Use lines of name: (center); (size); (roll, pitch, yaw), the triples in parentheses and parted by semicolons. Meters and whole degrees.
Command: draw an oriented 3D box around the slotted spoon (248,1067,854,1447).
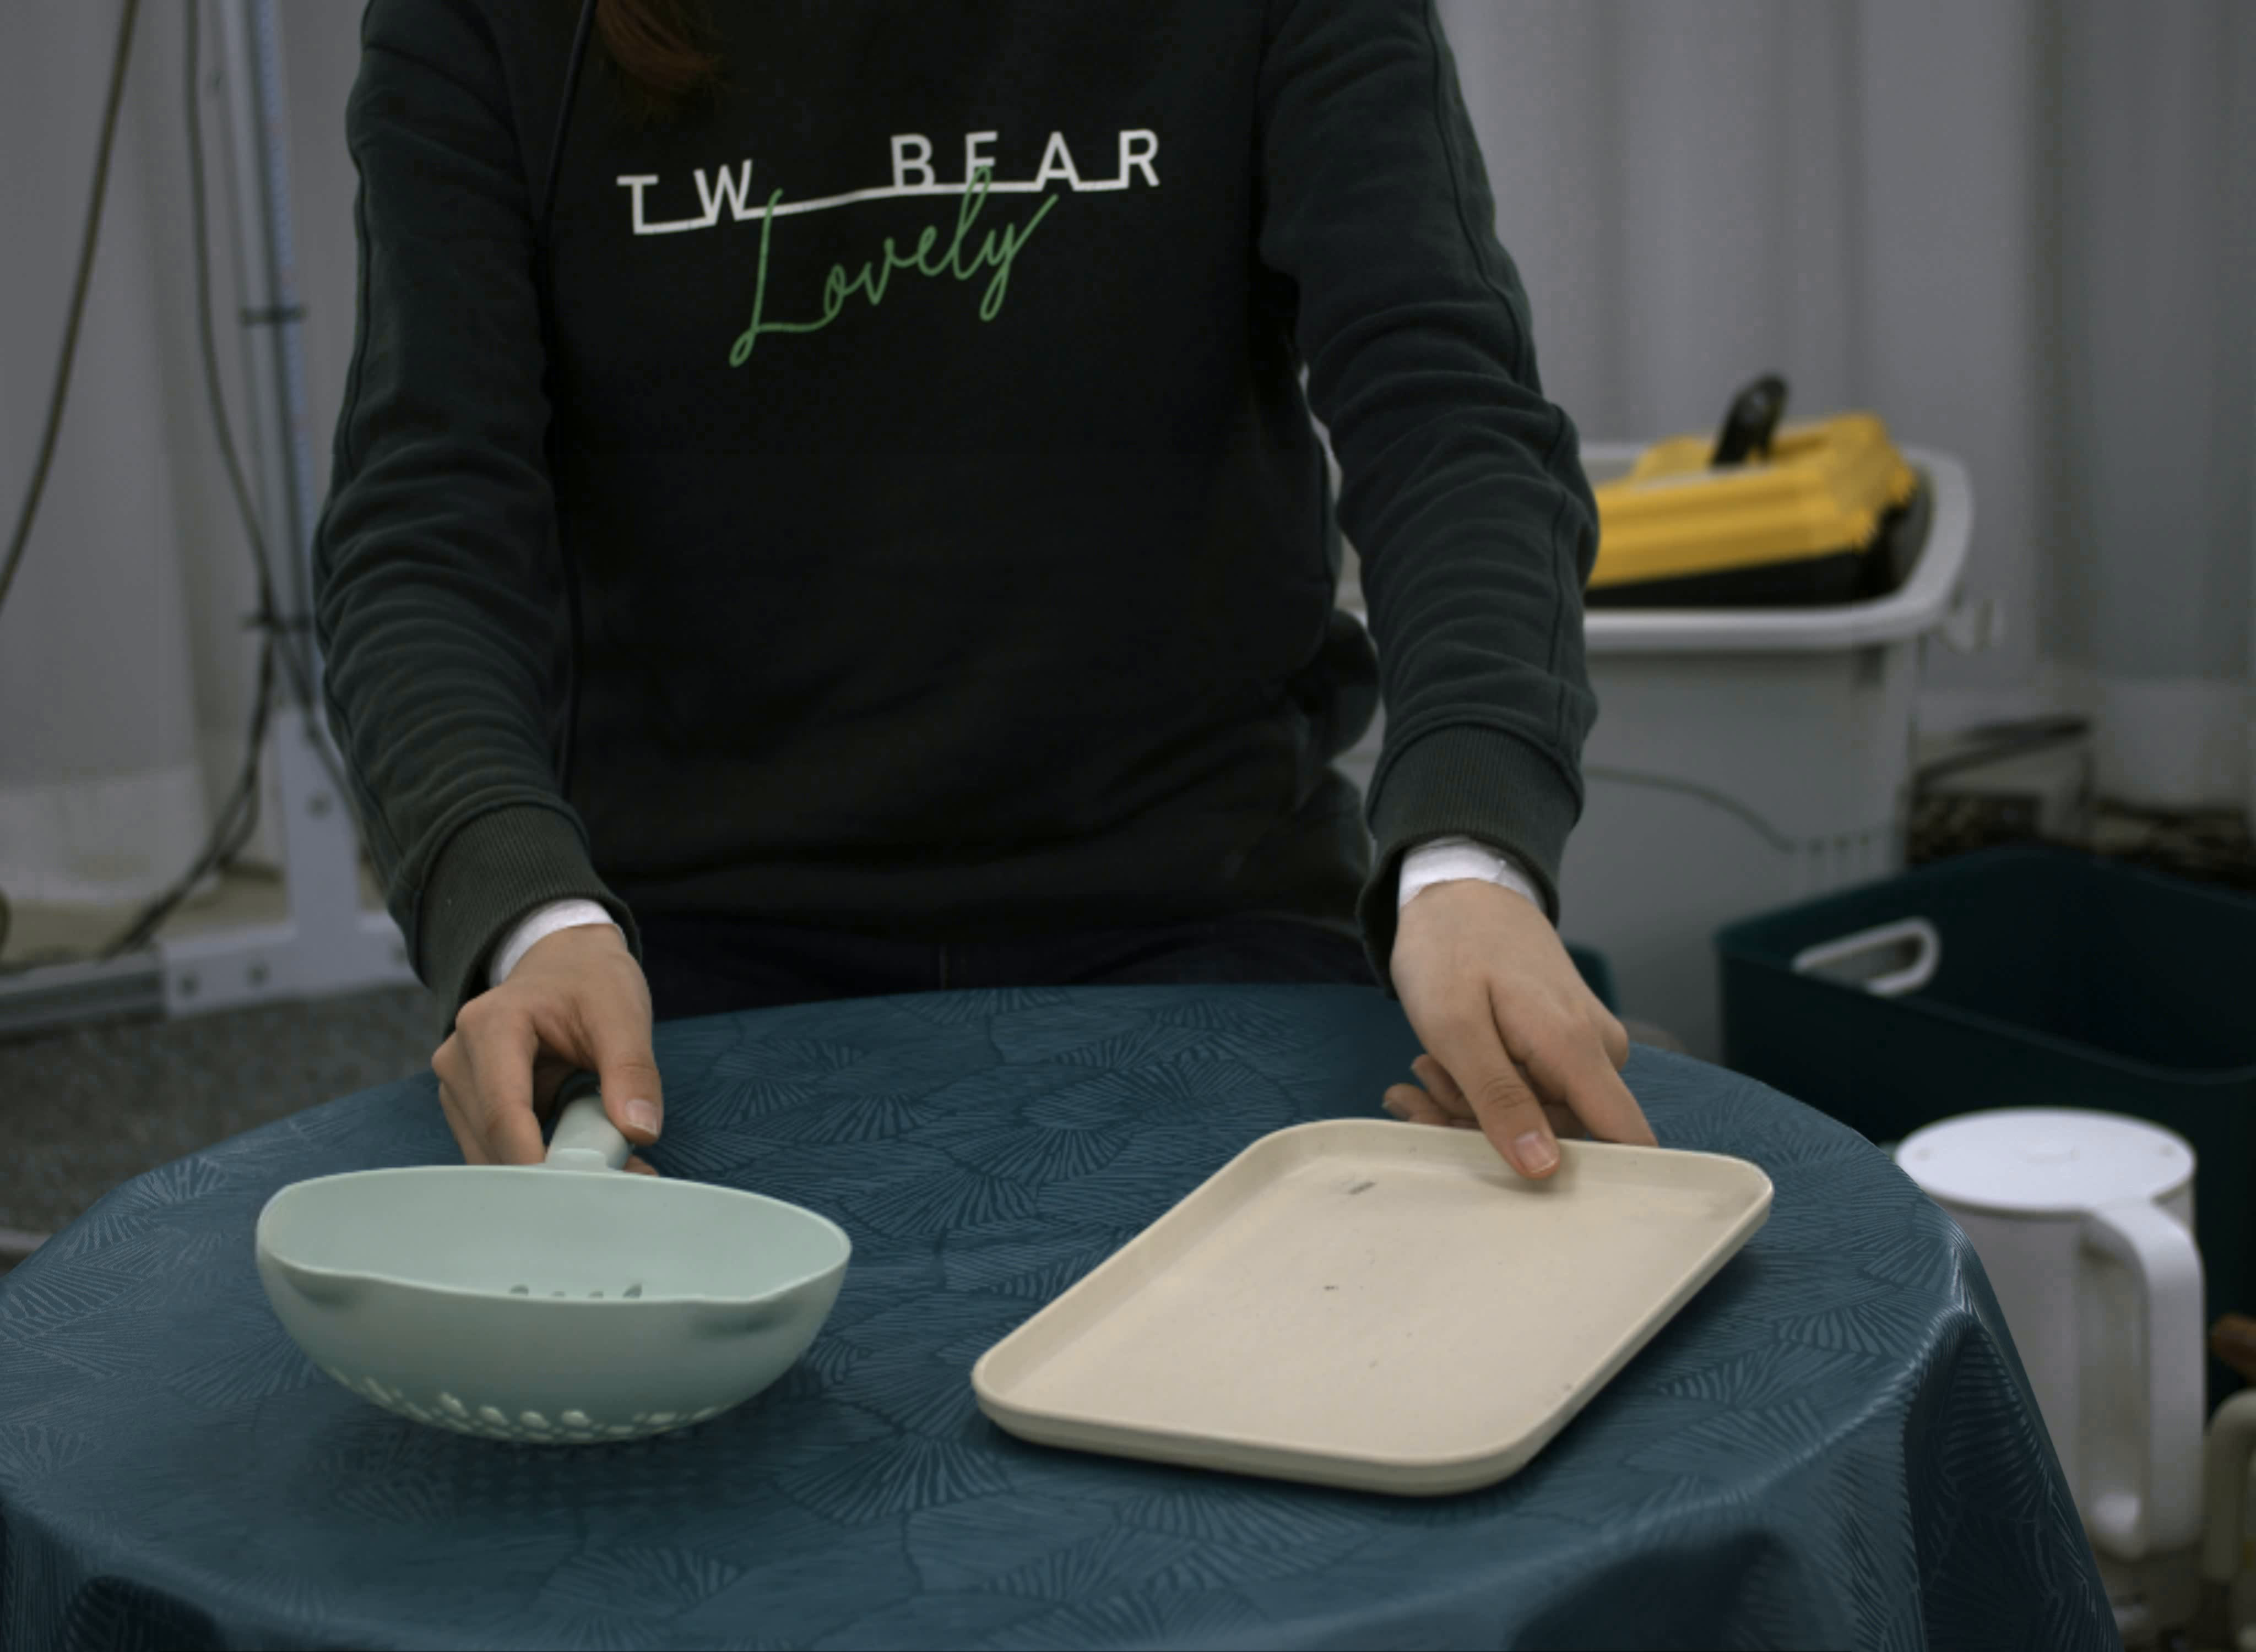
slotted spoon: (-0.164, 0.112, 1.625); (0.169, 0.075, 0.361); (5, 15, -2)

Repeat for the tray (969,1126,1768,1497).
tray: (0.073, 0.137, 1.569); (0.171, 0.017, 0.240); (5, 18, 26)
